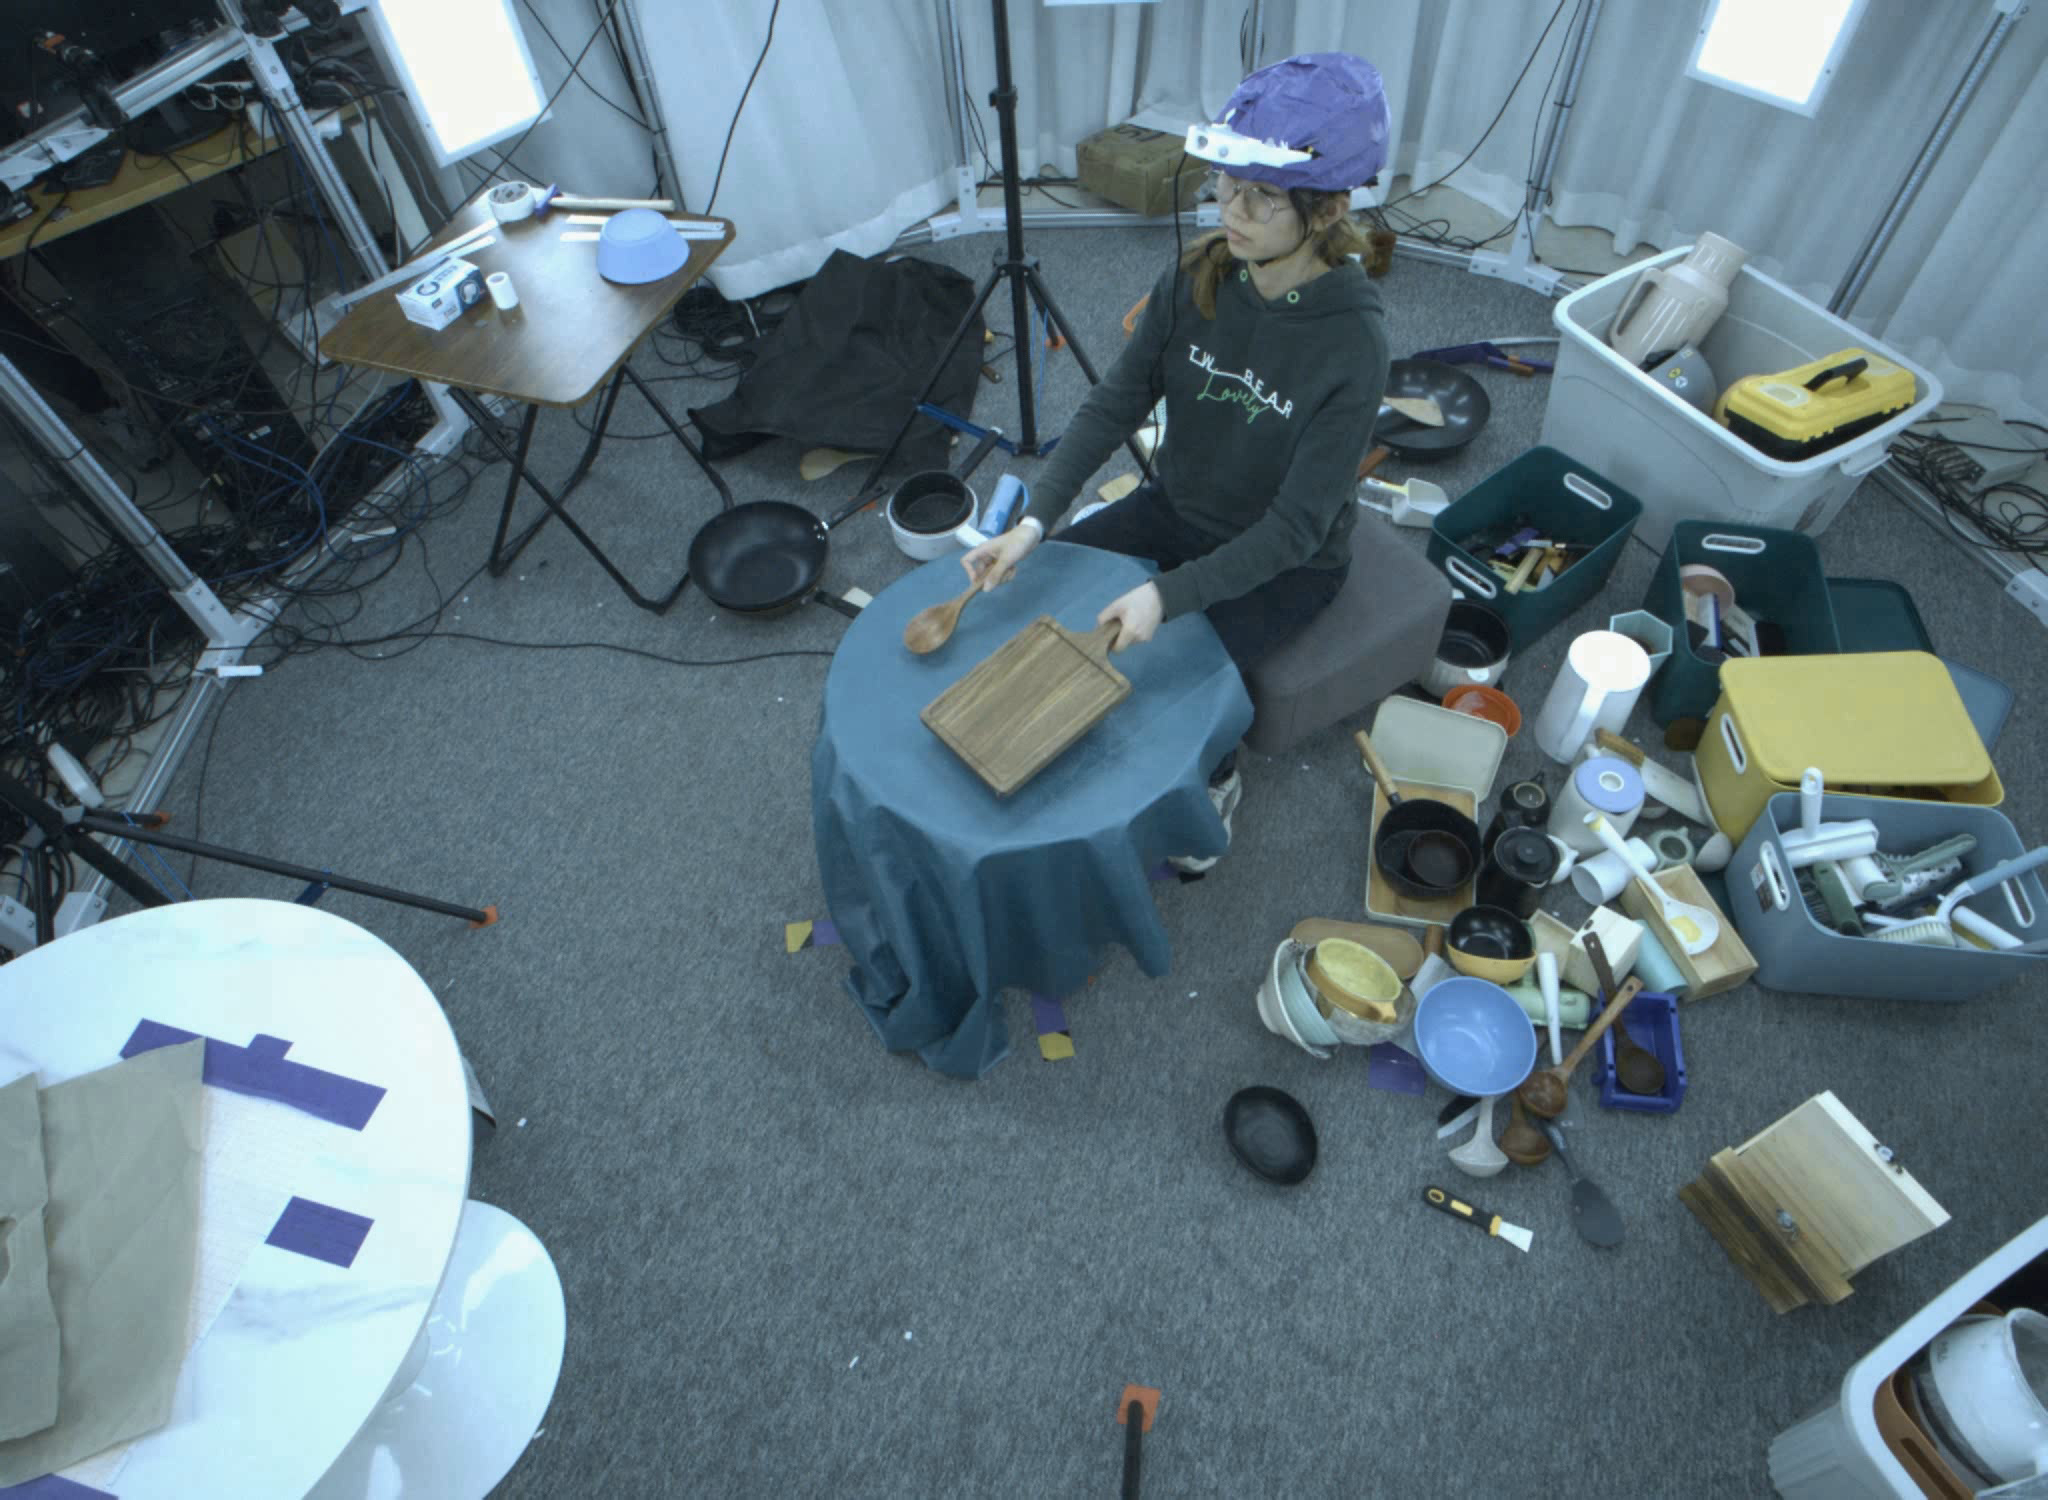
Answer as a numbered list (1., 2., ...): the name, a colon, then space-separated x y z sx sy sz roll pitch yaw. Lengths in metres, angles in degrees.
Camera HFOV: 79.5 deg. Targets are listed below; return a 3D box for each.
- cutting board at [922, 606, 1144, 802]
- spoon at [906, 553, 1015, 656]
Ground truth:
1. cutting board: 0.042 -0.093 1.775 0.354 0.023 0.197 -40 60 -14
2. spoon: -0.096 -0.224 1.892 0.216 0.017 0.074 -45 60 -5
